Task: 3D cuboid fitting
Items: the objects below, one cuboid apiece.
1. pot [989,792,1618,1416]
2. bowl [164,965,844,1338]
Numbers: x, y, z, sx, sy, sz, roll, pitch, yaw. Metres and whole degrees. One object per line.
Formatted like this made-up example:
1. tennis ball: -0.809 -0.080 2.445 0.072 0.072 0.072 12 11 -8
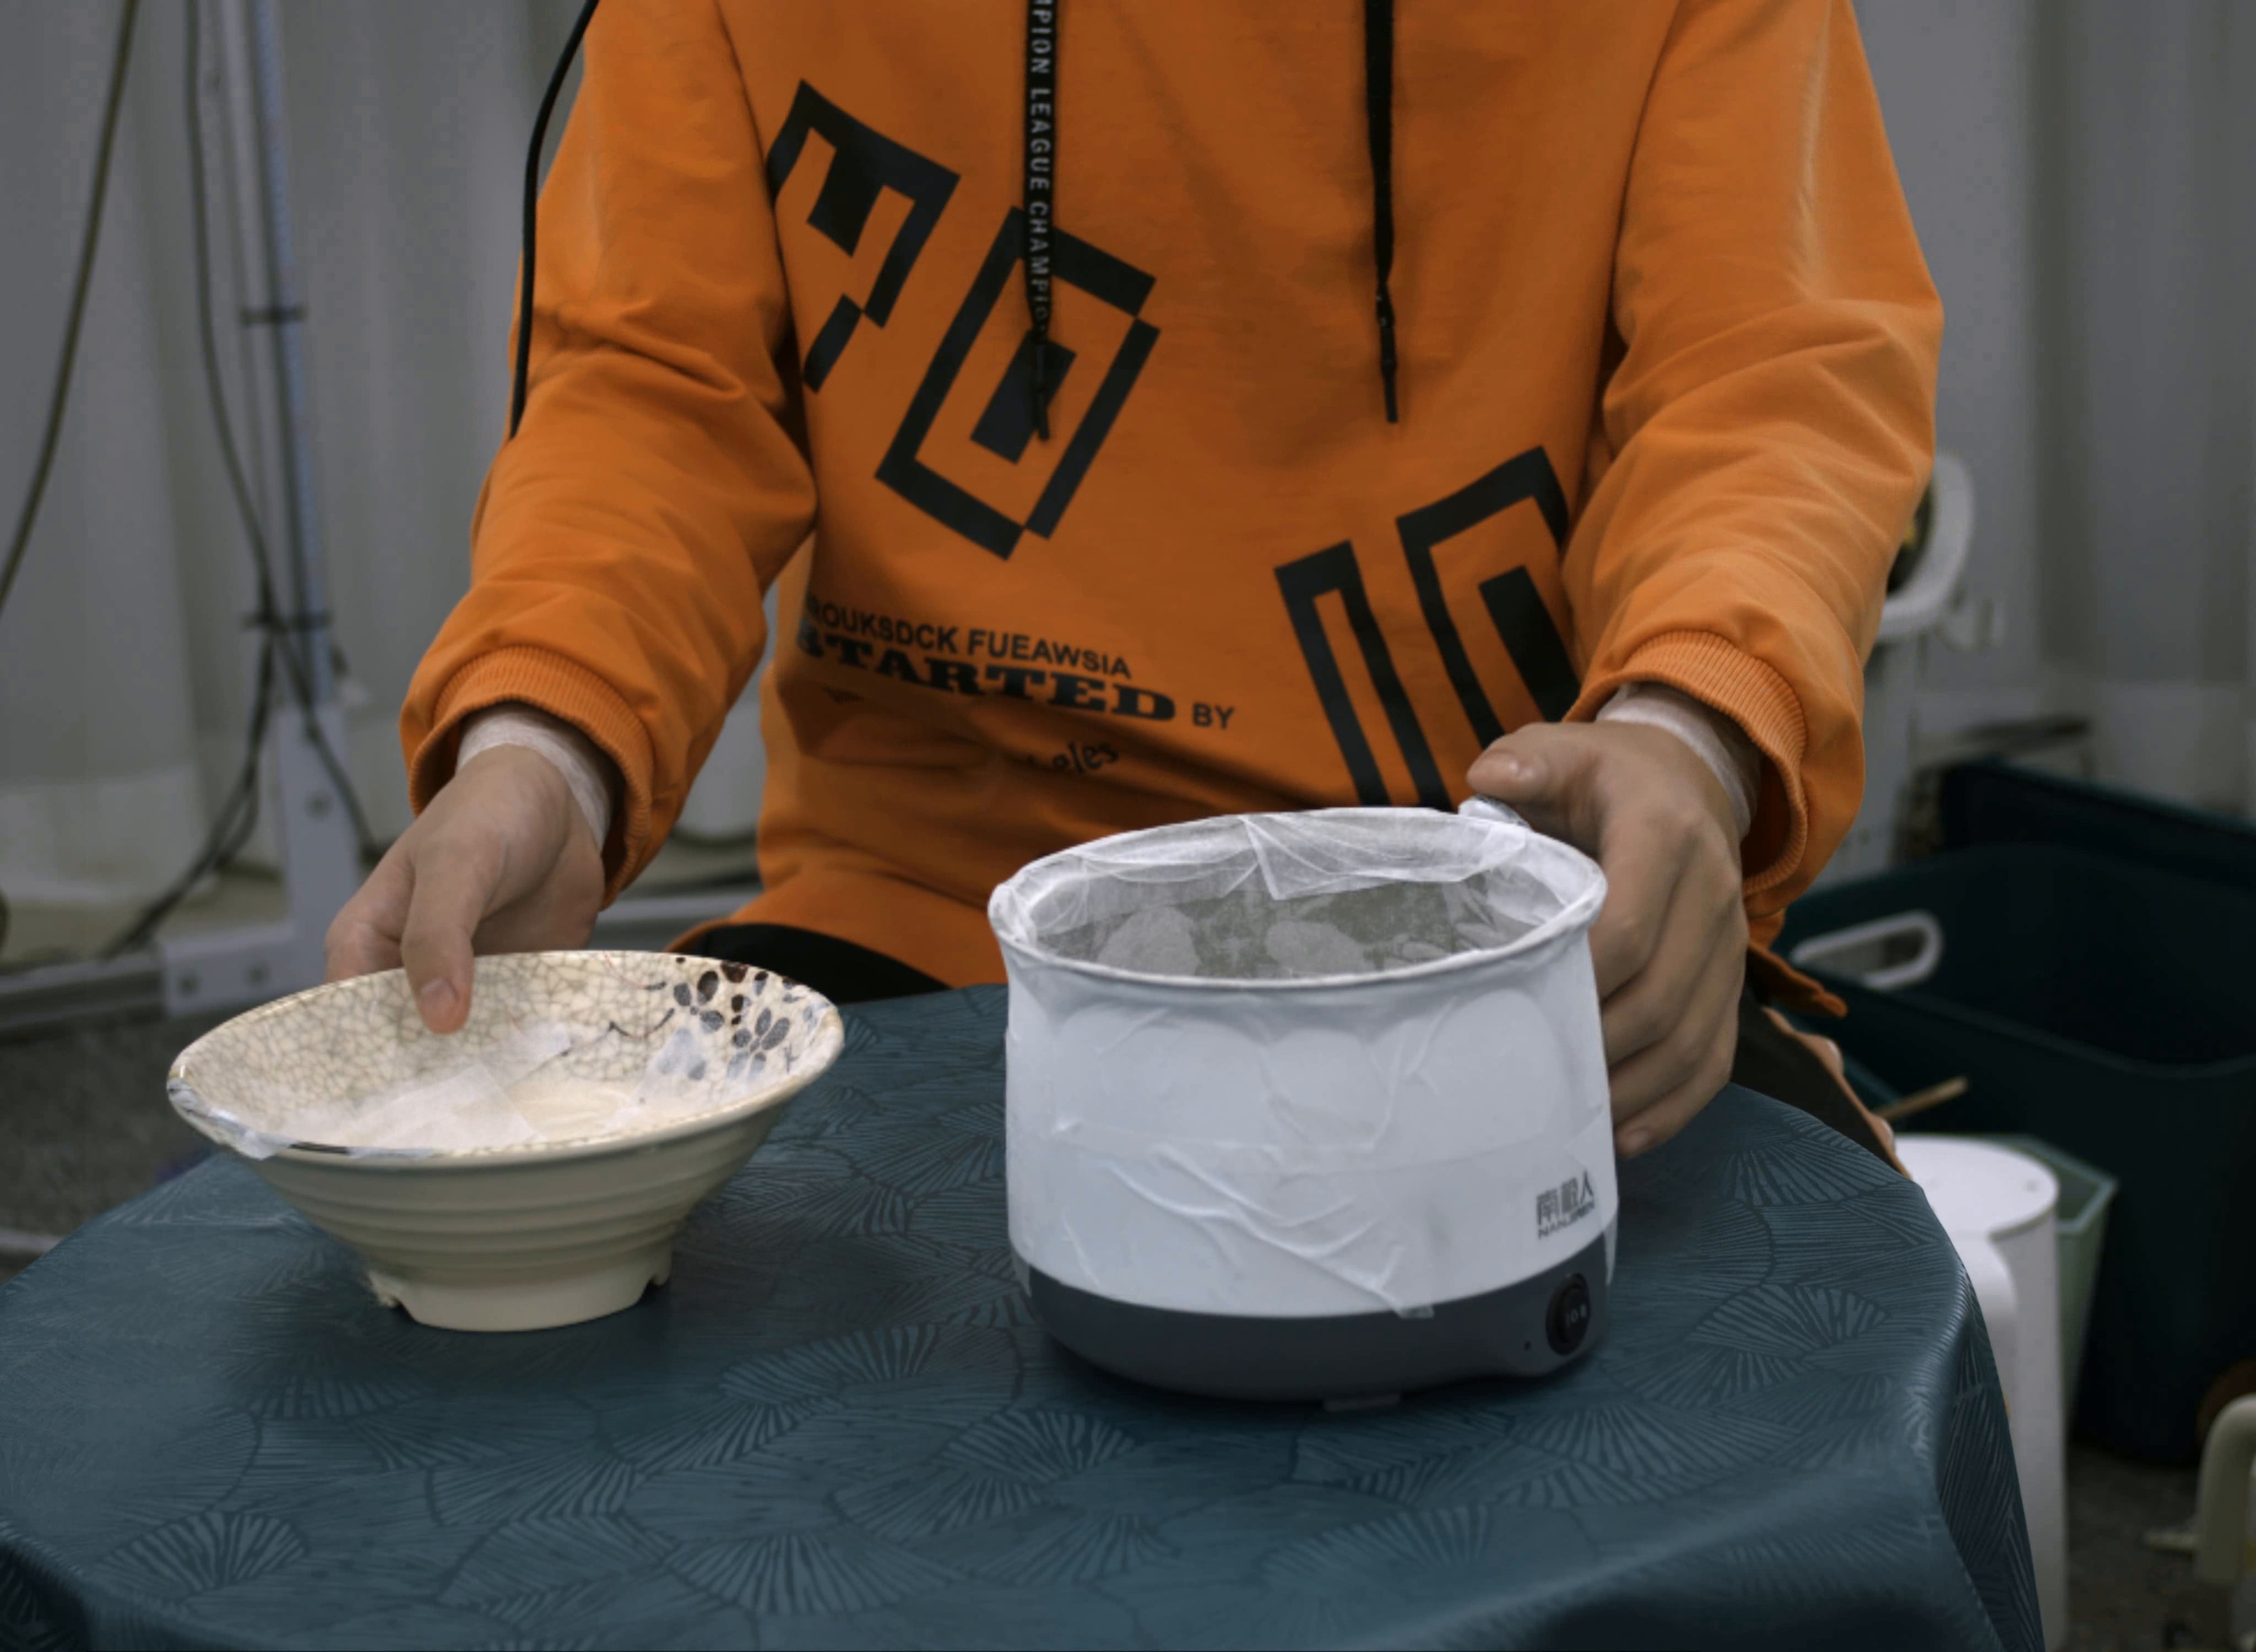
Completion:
1. pot: 0.067 0.073 1.594 0.179 0.136 0.234 7 18 34
2. bowl: -0.185 0.104 1.649 0.203 0.078 0.205 -3 13 0
